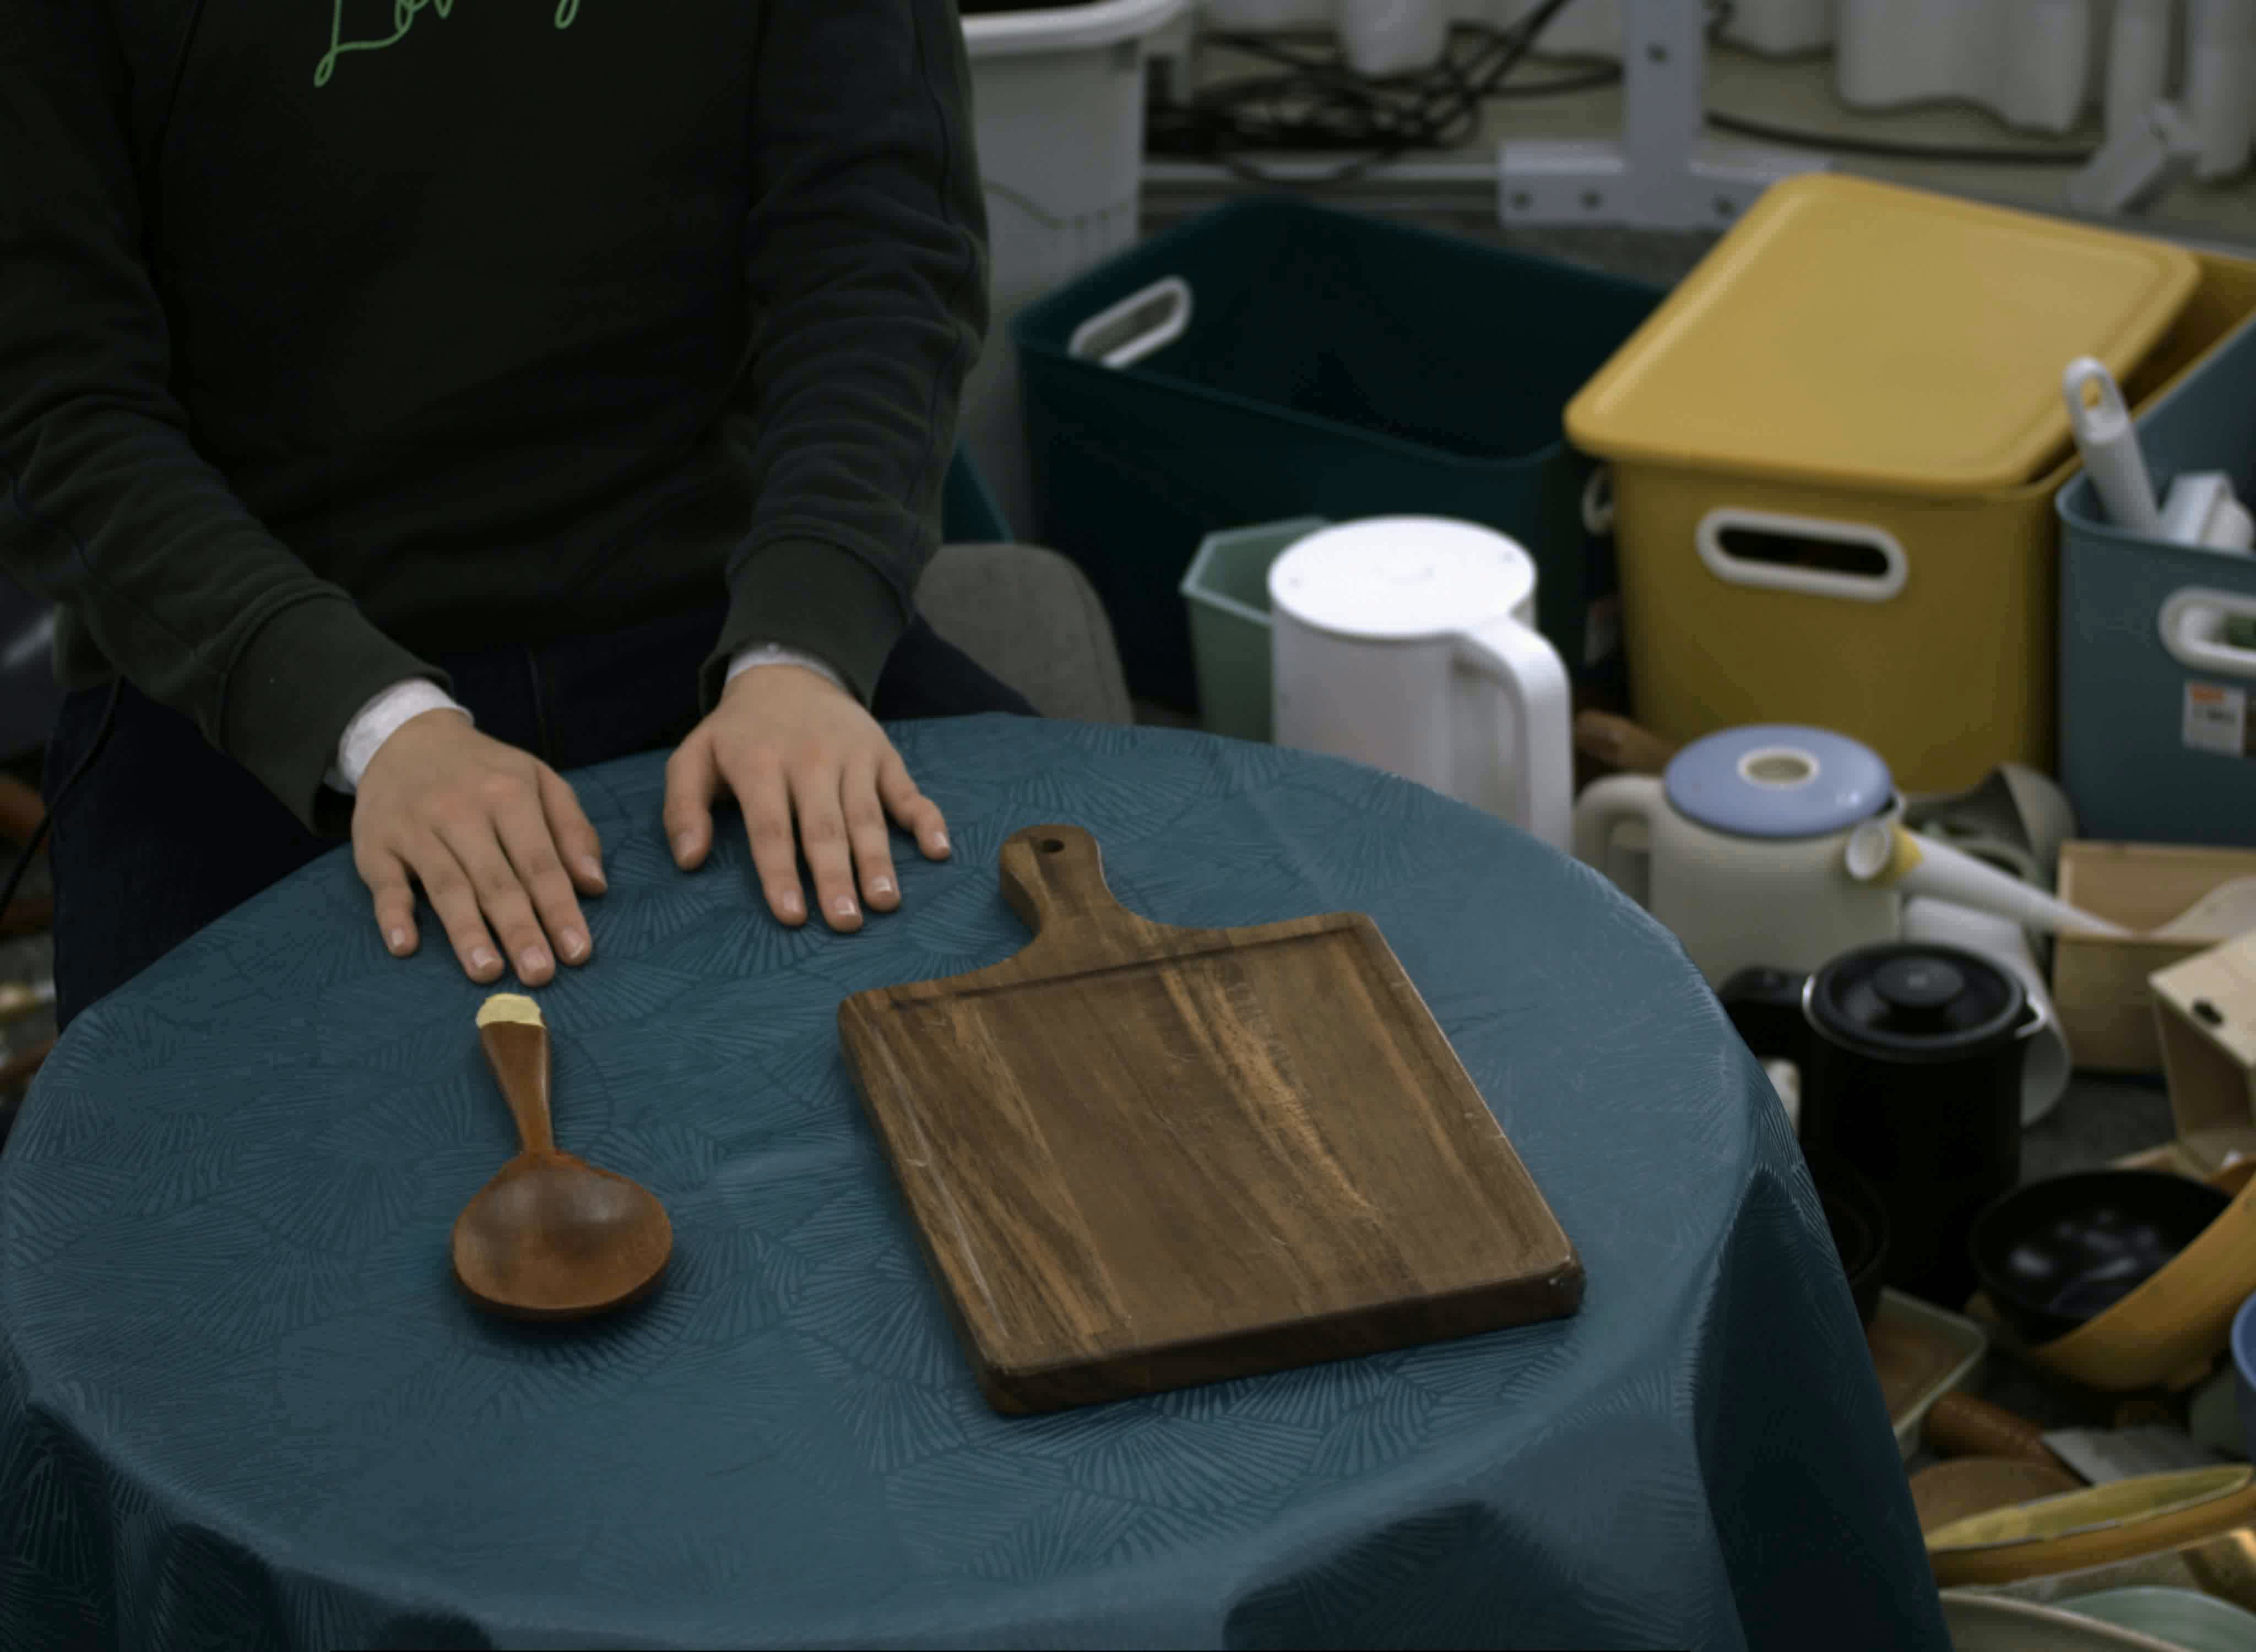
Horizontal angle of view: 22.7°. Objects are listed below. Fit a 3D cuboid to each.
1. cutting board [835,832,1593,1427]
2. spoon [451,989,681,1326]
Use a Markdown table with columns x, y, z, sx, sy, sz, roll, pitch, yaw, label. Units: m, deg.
| x | y | z | sx | sy | sz | roll | pitch | yaw | label |
| --- | --- | --- | --- | --- | --- | --- | --- | --- | --- |
| 0.011 | 0.087 | 1.909 | 0.201 | 0.023 | 0.356 | -10 | 28 | -11 | cutting board |
| -0.195 | 0.112 | 1.881 | 0.075 | 0.017 | 0.218 | -9 | 28 | -8 | spoon |
